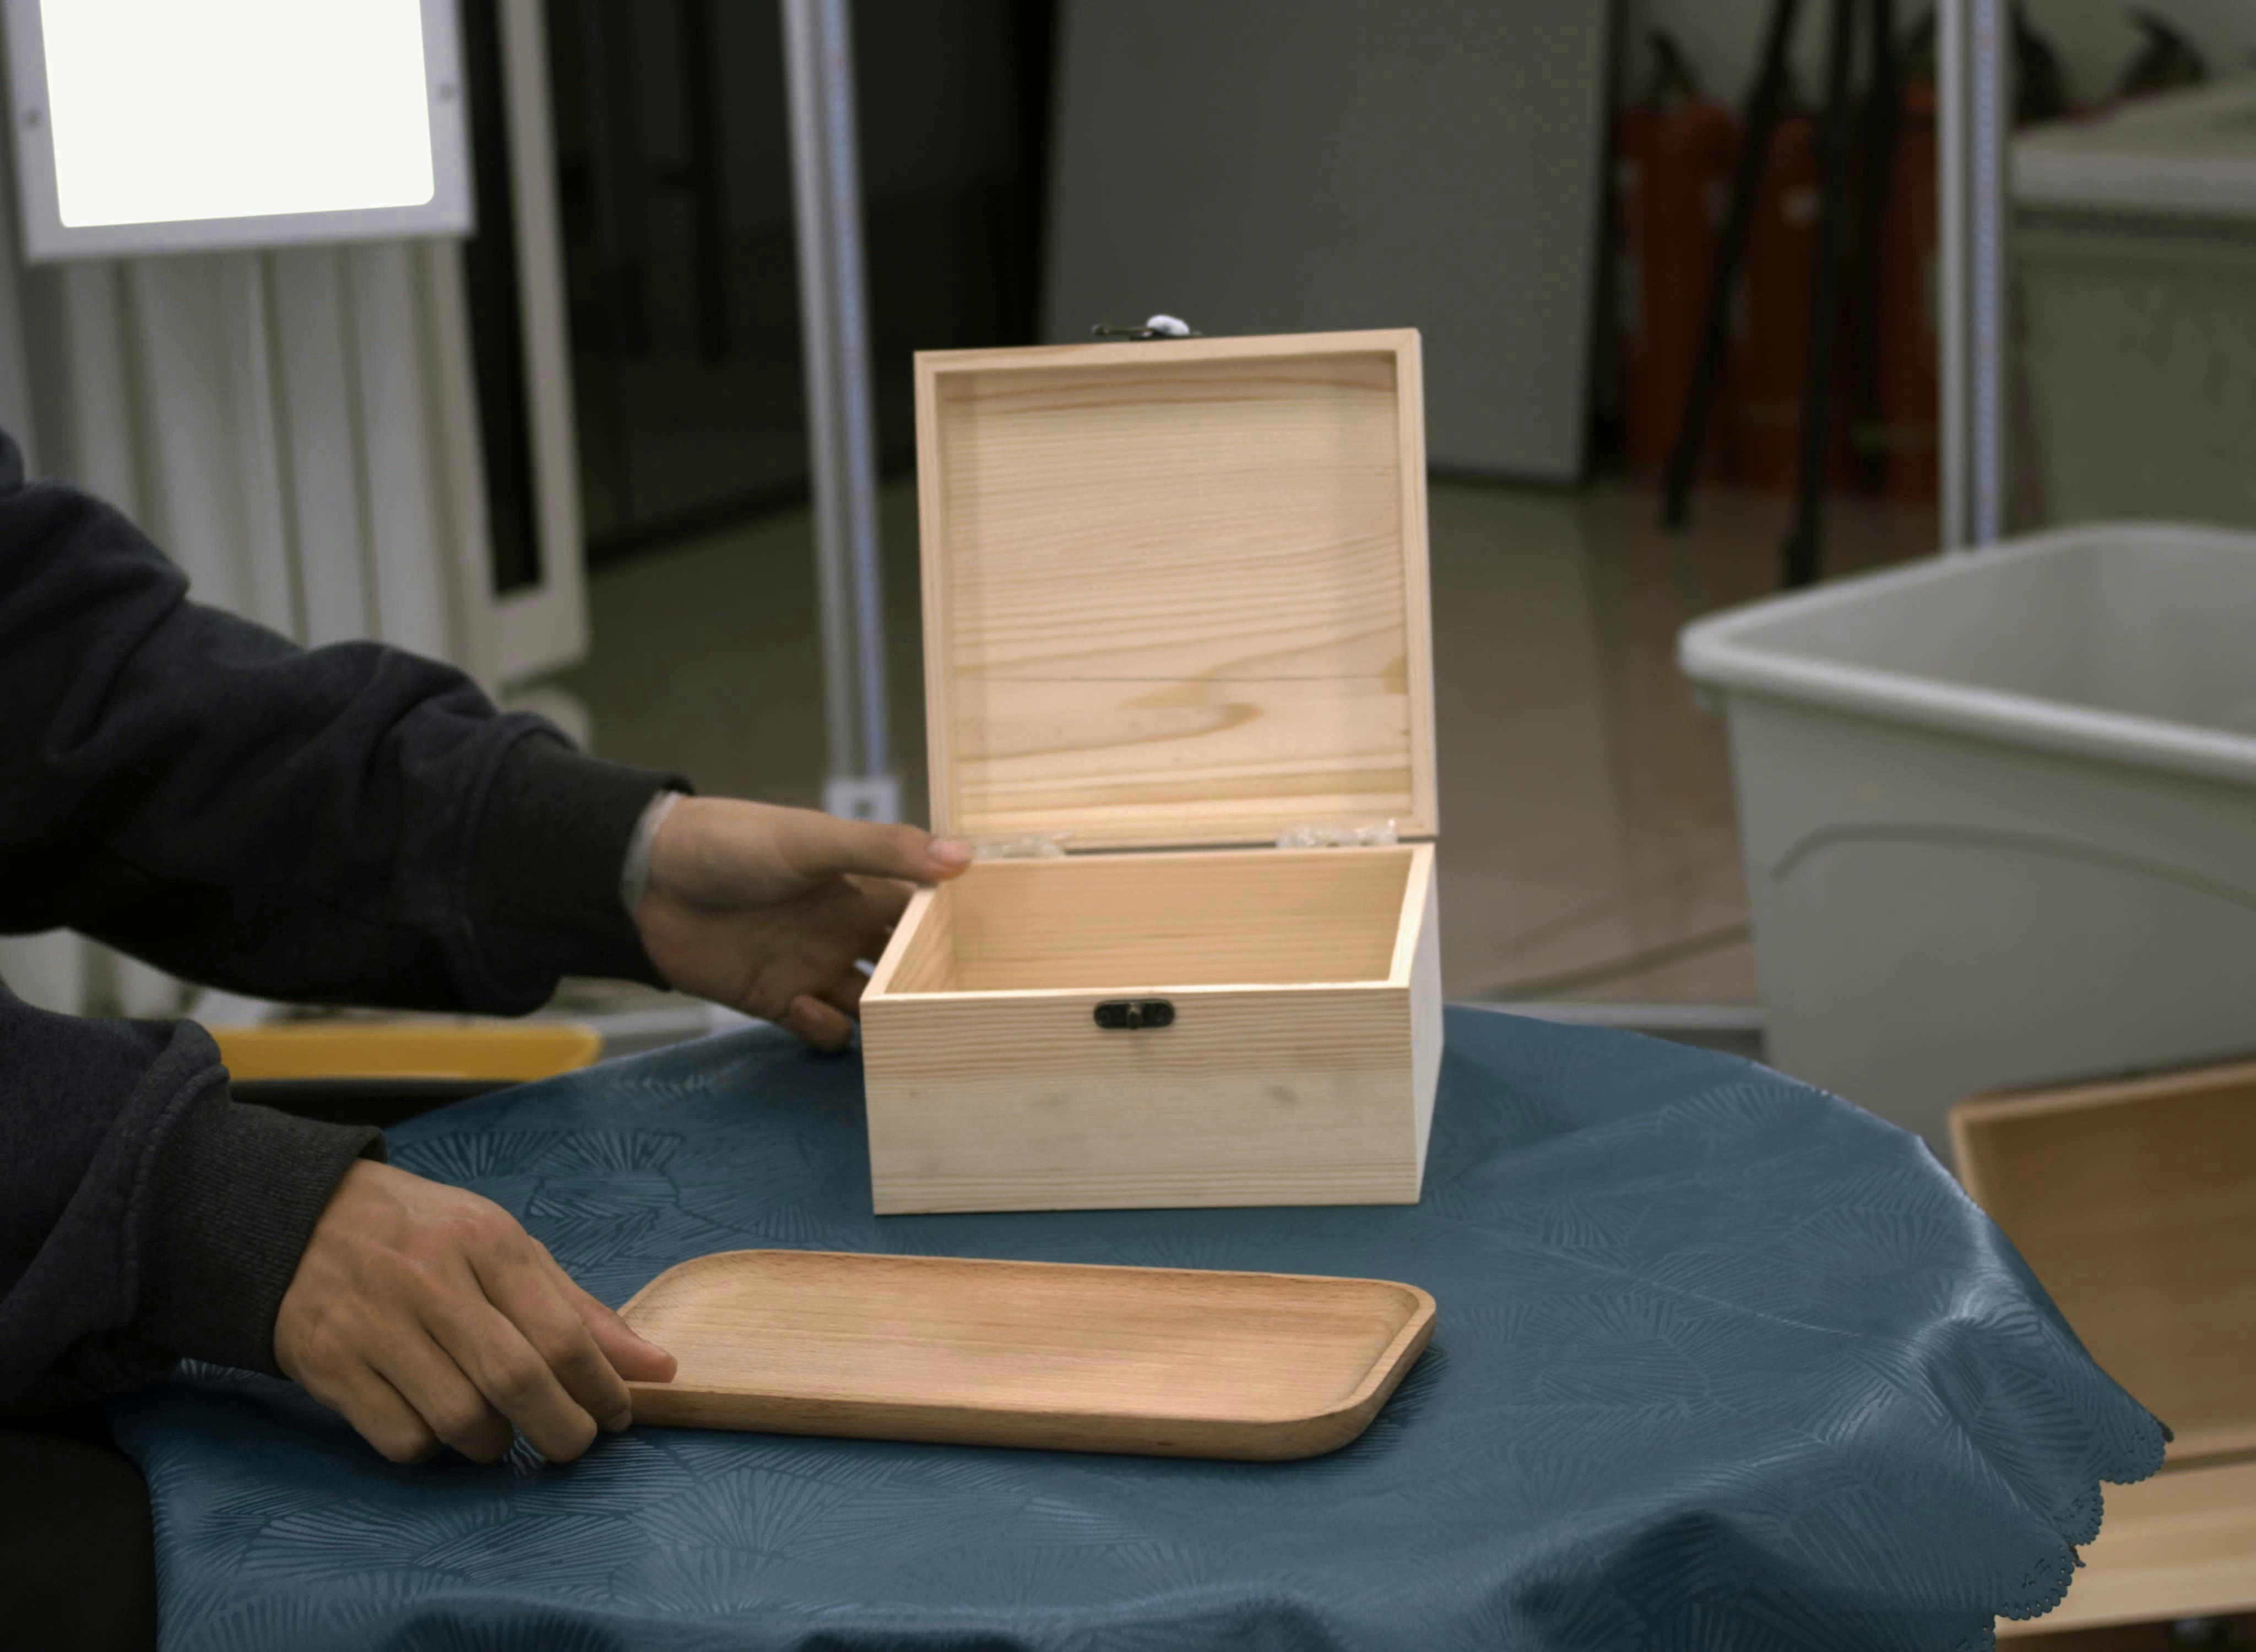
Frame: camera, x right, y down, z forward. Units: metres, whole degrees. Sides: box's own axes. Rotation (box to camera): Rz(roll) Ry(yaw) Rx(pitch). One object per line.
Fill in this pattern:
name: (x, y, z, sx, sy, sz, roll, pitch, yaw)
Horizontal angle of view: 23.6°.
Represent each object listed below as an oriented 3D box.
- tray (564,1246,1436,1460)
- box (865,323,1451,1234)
tray: (-0.037, 0.155, 1.600, 0.250, 0.023, 0.129, 1, 11, 20)
box: (0.009, -0.023, 1.840, 0.180, 0.256, 0.264, -5, 12, 7)
